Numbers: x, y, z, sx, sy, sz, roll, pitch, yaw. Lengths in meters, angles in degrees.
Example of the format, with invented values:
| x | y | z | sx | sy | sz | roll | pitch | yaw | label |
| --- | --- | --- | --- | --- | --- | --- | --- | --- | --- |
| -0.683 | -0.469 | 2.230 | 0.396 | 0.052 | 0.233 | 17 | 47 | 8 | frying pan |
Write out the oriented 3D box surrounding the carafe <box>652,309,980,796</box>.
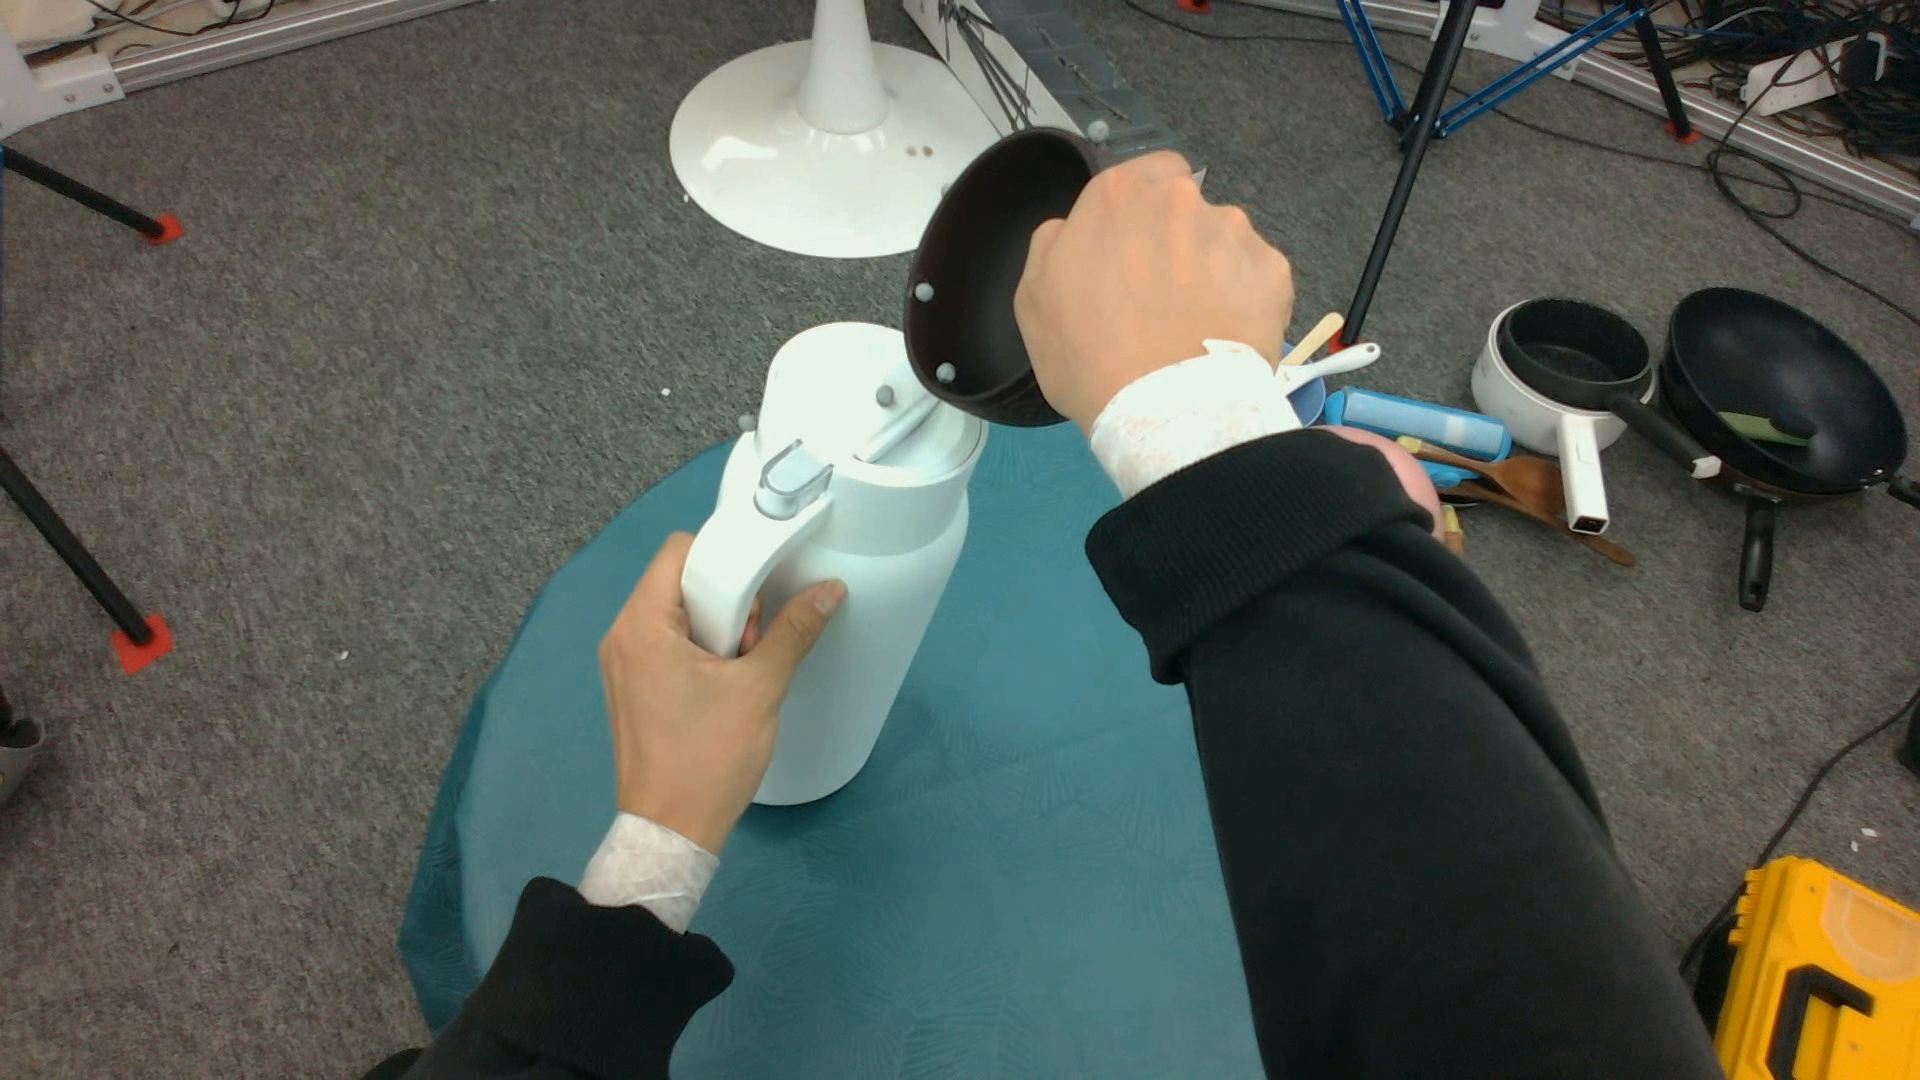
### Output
| x | y | z | sx | sy | sz | roll | pitch | yaw | label |
| --- | --- | --- | --- | --- | --- | --- | --- | --- | --- |
| -0.083 | 0.025 | 0.677 | 0.124 | 0.267 | 0.174 | 36 | 48 | 8 | carafe |

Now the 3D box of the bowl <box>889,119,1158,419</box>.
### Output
| x | y | z | sx | sy | sz | roll | pitch | yaw | label |
| --- | --- | --- | --- | --- | --- | --- | --- | --- | --- |
| 0.033 | -0.105 | 0.568 | 0.070 | 0.117 | 0.118 | 17 | 42 | -40 | bowl |
